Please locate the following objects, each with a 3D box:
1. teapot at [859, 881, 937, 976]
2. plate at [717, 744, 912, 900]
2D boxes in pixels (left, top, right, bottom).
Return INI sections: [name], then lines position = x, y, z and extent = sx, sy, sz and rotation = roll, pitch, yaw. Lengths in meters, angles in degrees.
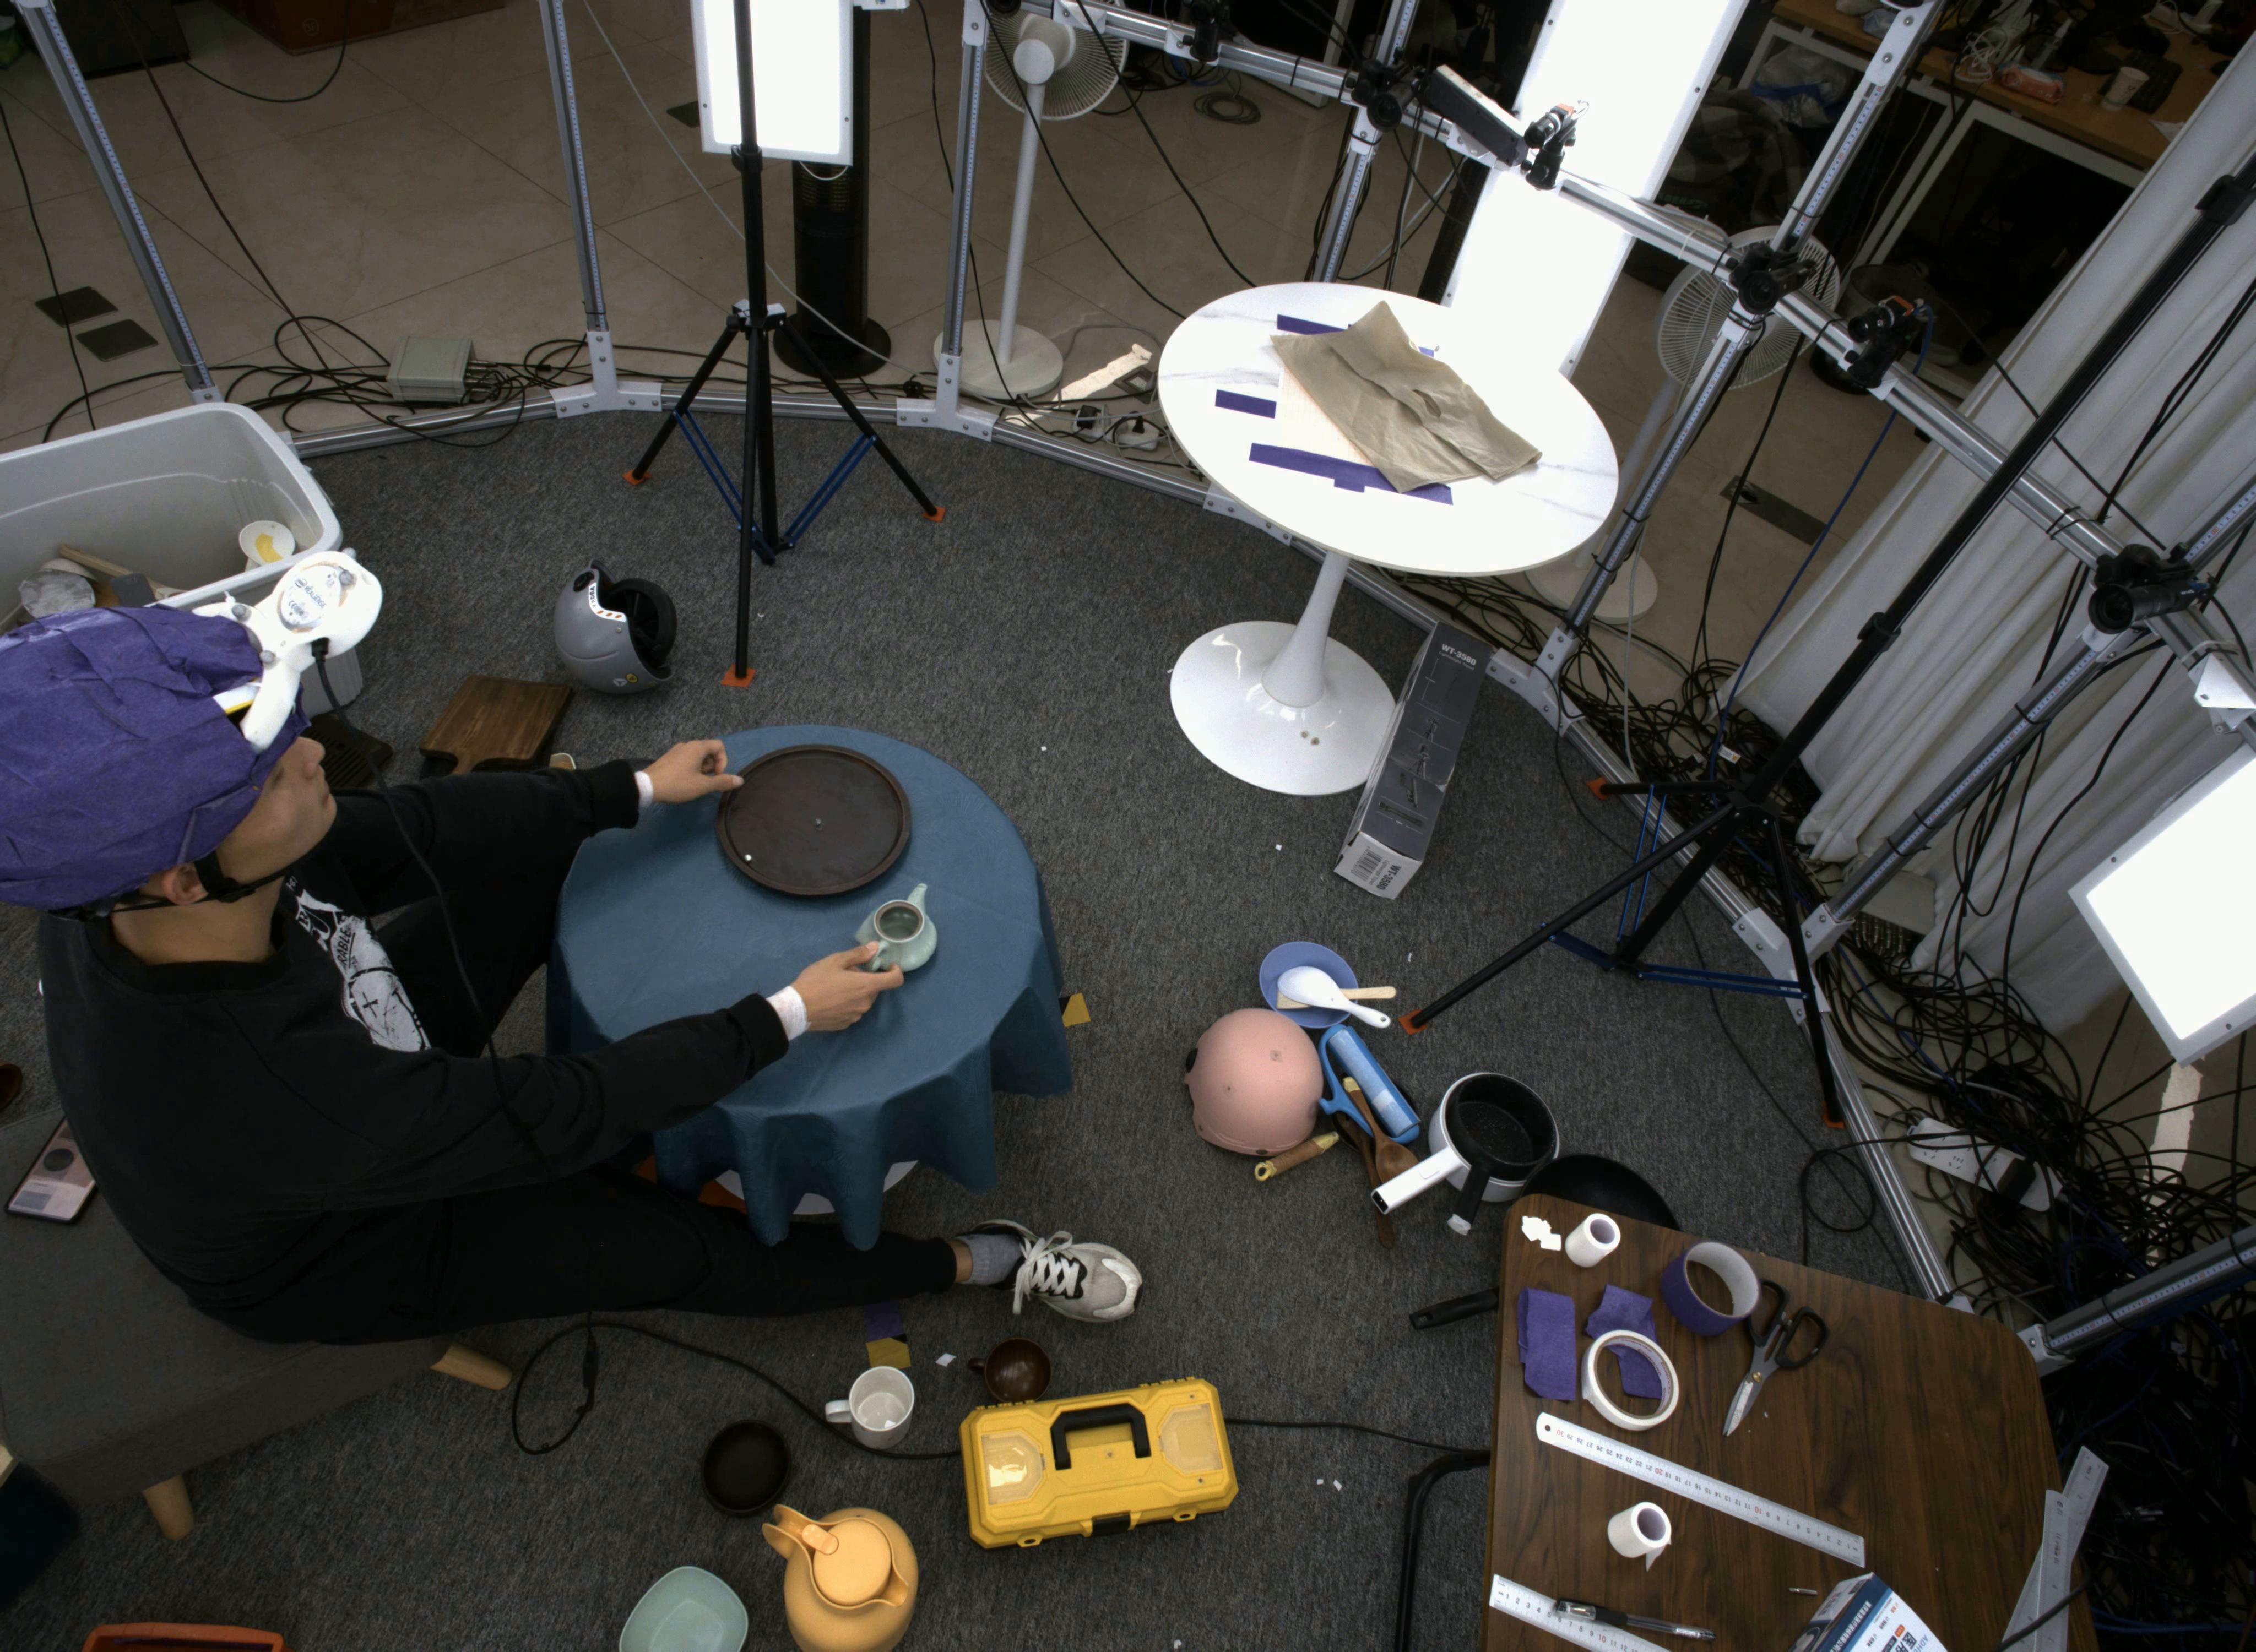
[teapot]
position = -0.287, 0.134, 1.618
extent = 0.095, 0.062, 0.136
rotation = 24, 51, 4
[plate]
position = -0.413, -0.008, 1.715
extent = 0.254, 0.029, 0.250
rotation = 9, 53, -10
